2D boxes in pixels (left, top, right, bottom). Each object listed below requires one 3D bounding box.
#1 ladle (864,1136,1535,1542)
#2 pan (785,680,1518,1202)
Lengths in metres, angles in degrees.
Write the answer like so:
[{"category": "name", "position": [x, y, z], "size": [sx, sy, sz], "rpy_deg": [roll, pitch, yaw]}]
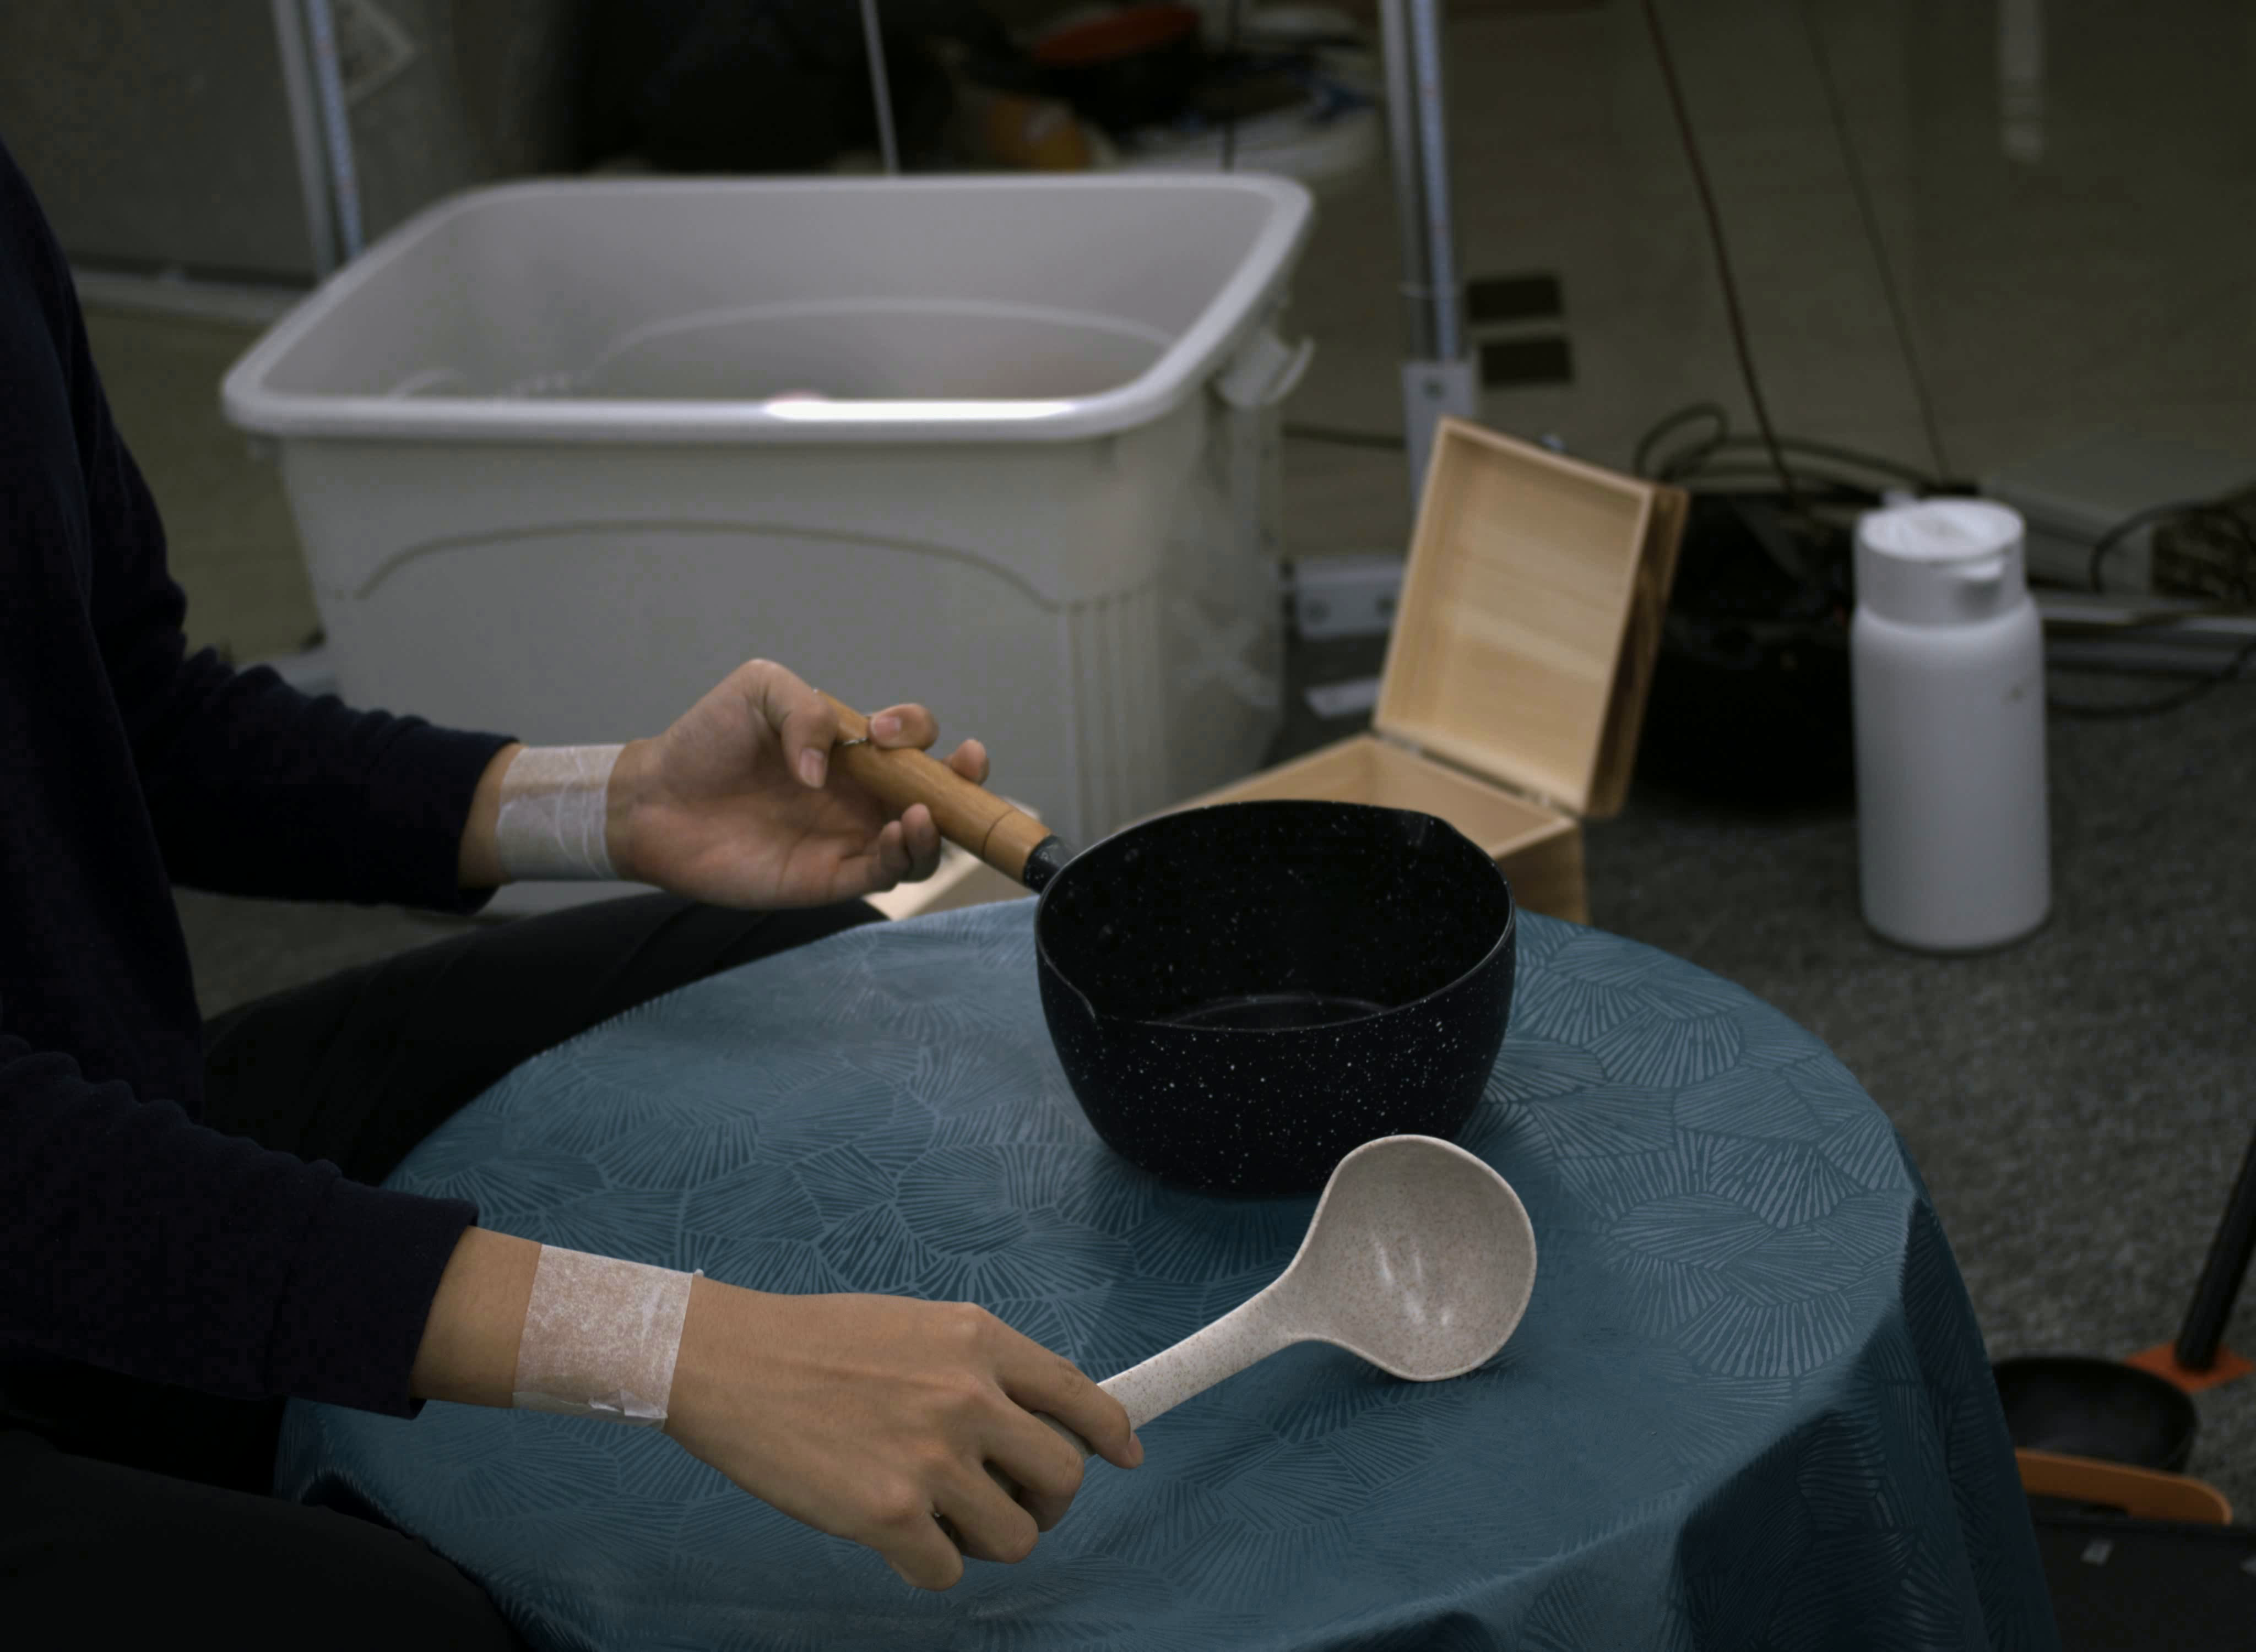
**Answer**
[{"category": "ladle", "position": [0.029, 0.185, 1.921], "size": [0.069, 0.090, 0.272], "rpy_deg": [0, 18, 45]}, {"category": "pan", "position": [-0.004, 0.037, 2.211], "size": [0.340, 0.110, 0.205], "rpy_deg": [20, 37, 34]}]
